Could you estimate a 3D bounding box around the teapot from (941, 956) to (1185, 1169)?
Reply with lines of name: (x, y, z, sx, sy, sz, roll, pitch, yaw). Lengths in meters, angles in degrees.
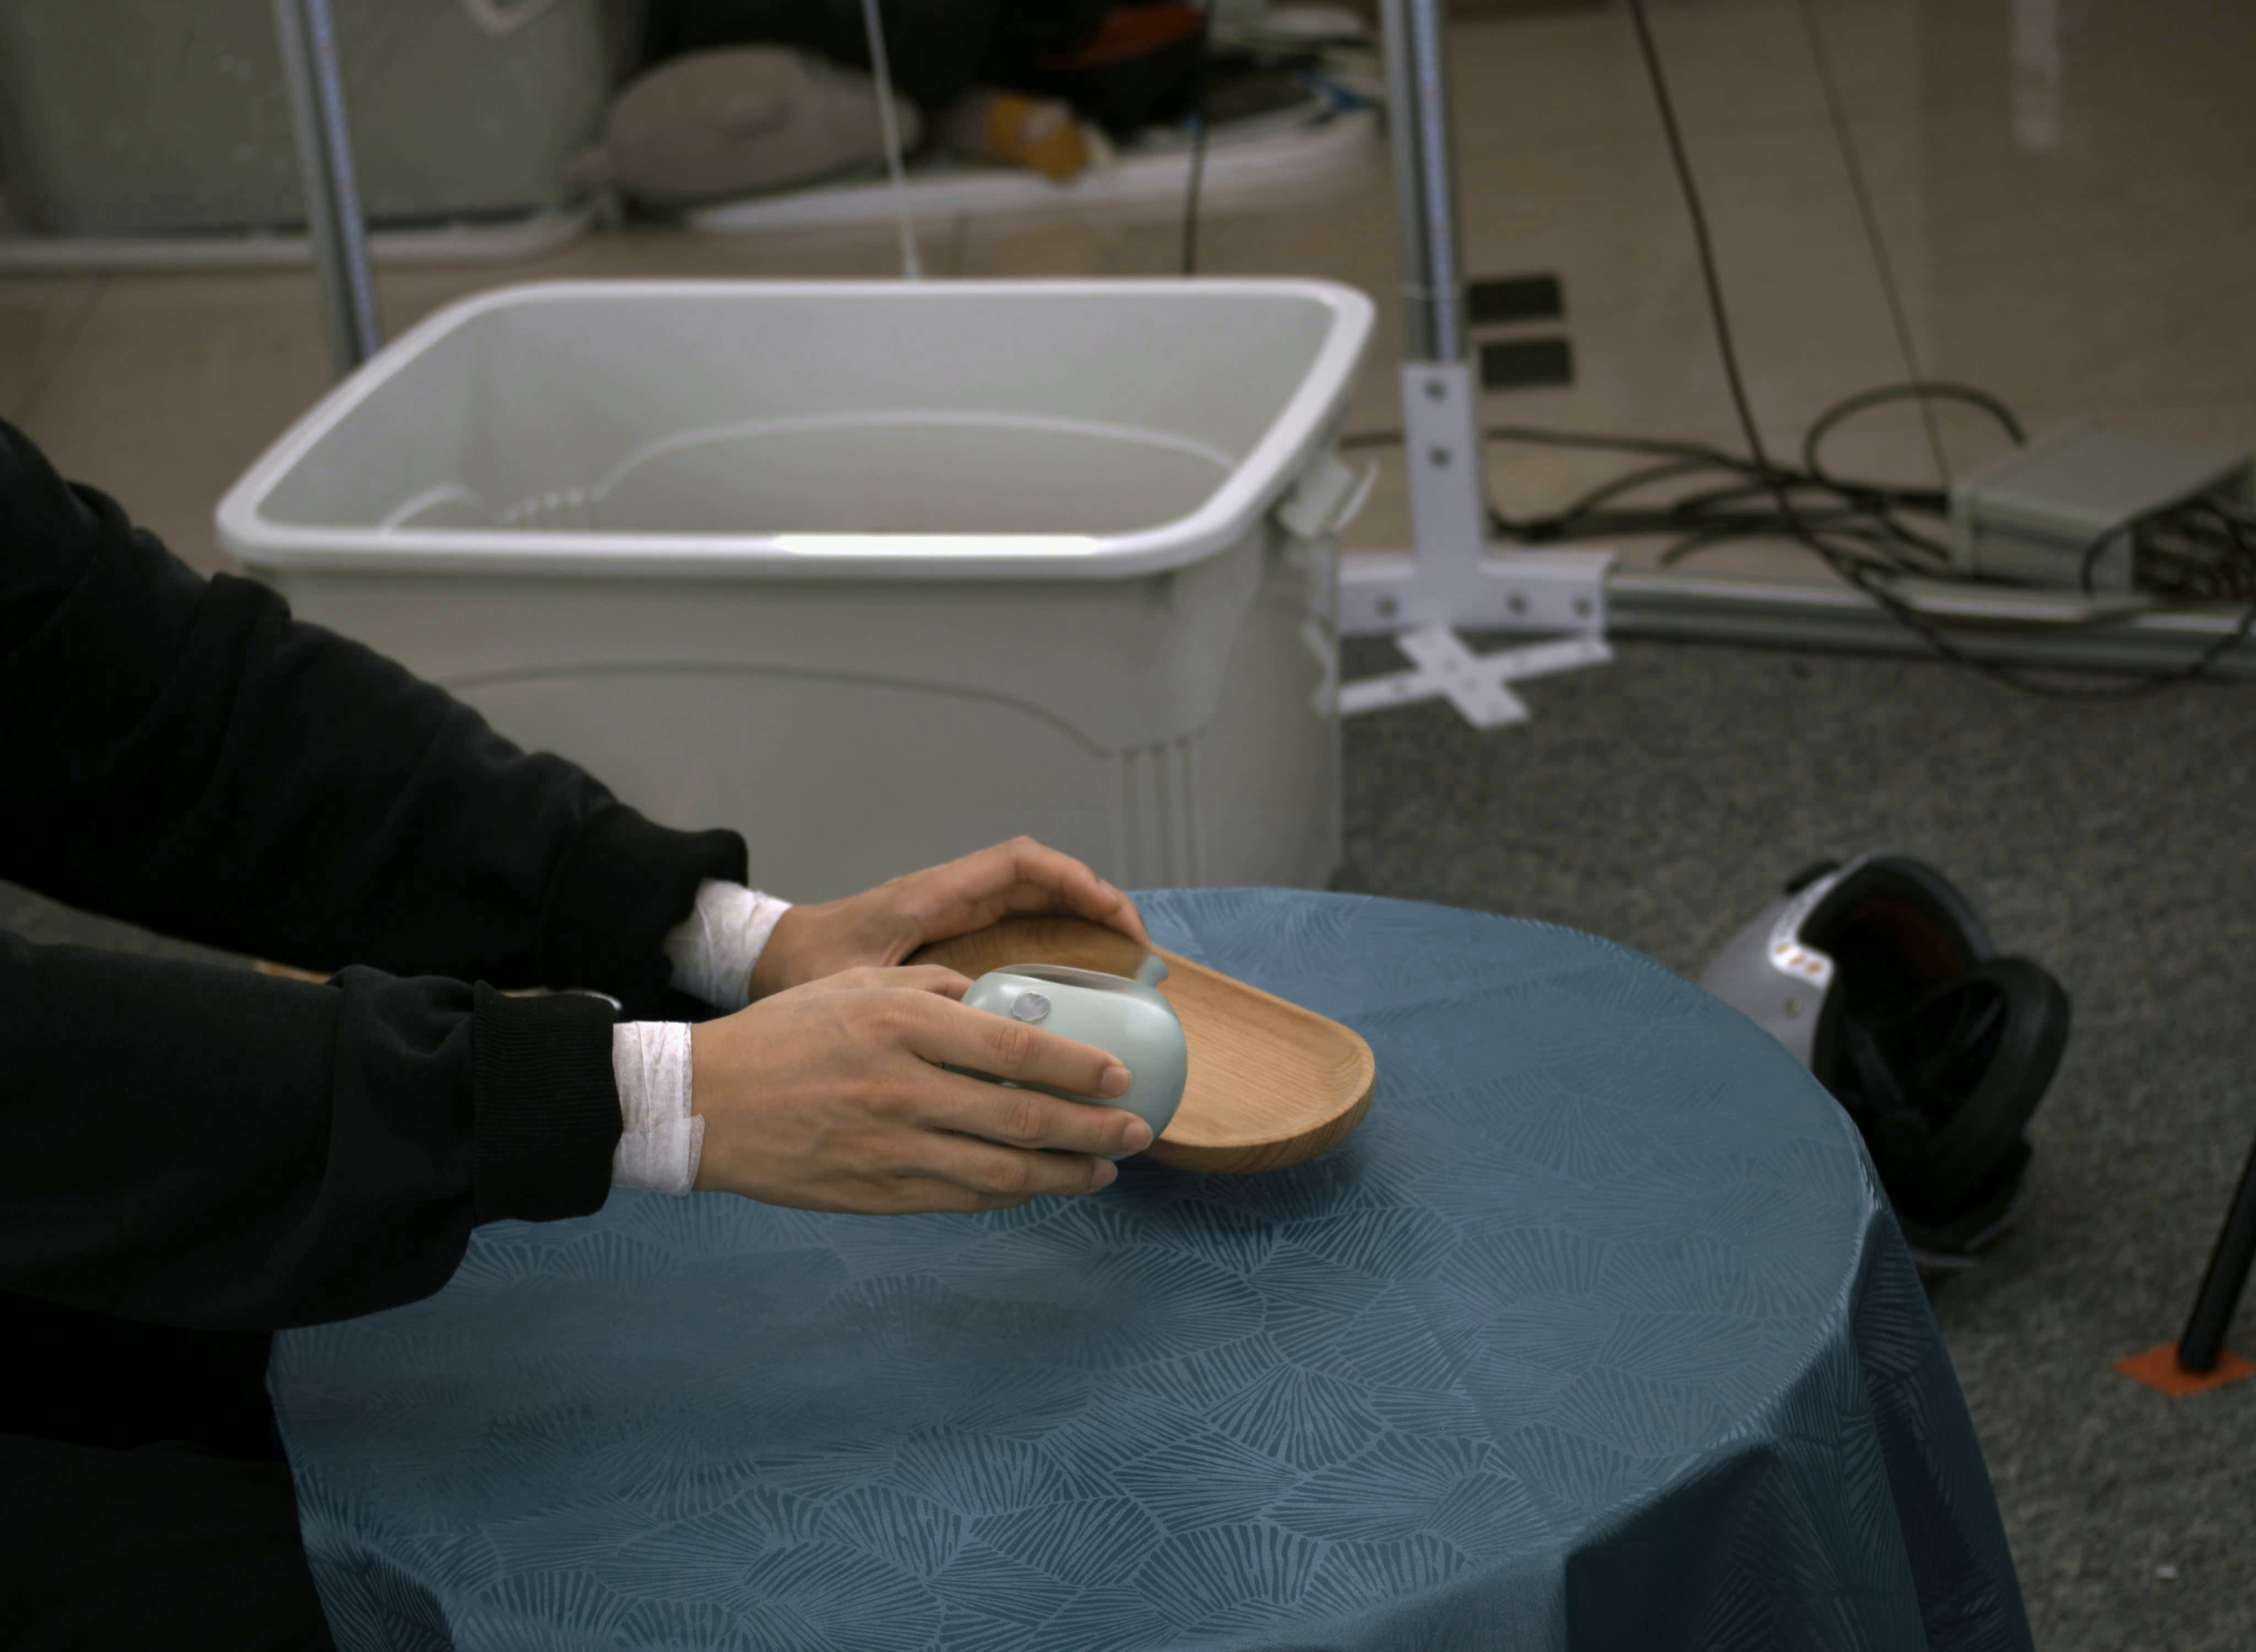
teapot: (-0.023, 0.084, 2.039, 0.088, 0.075, 0.144, 12, 4, 24)

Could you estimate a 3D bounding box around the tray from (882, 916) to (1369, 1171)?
tray: (-0.002, 0.083, 2.198, 0.101, 0.020, 0.229, -28, 32, -35)
